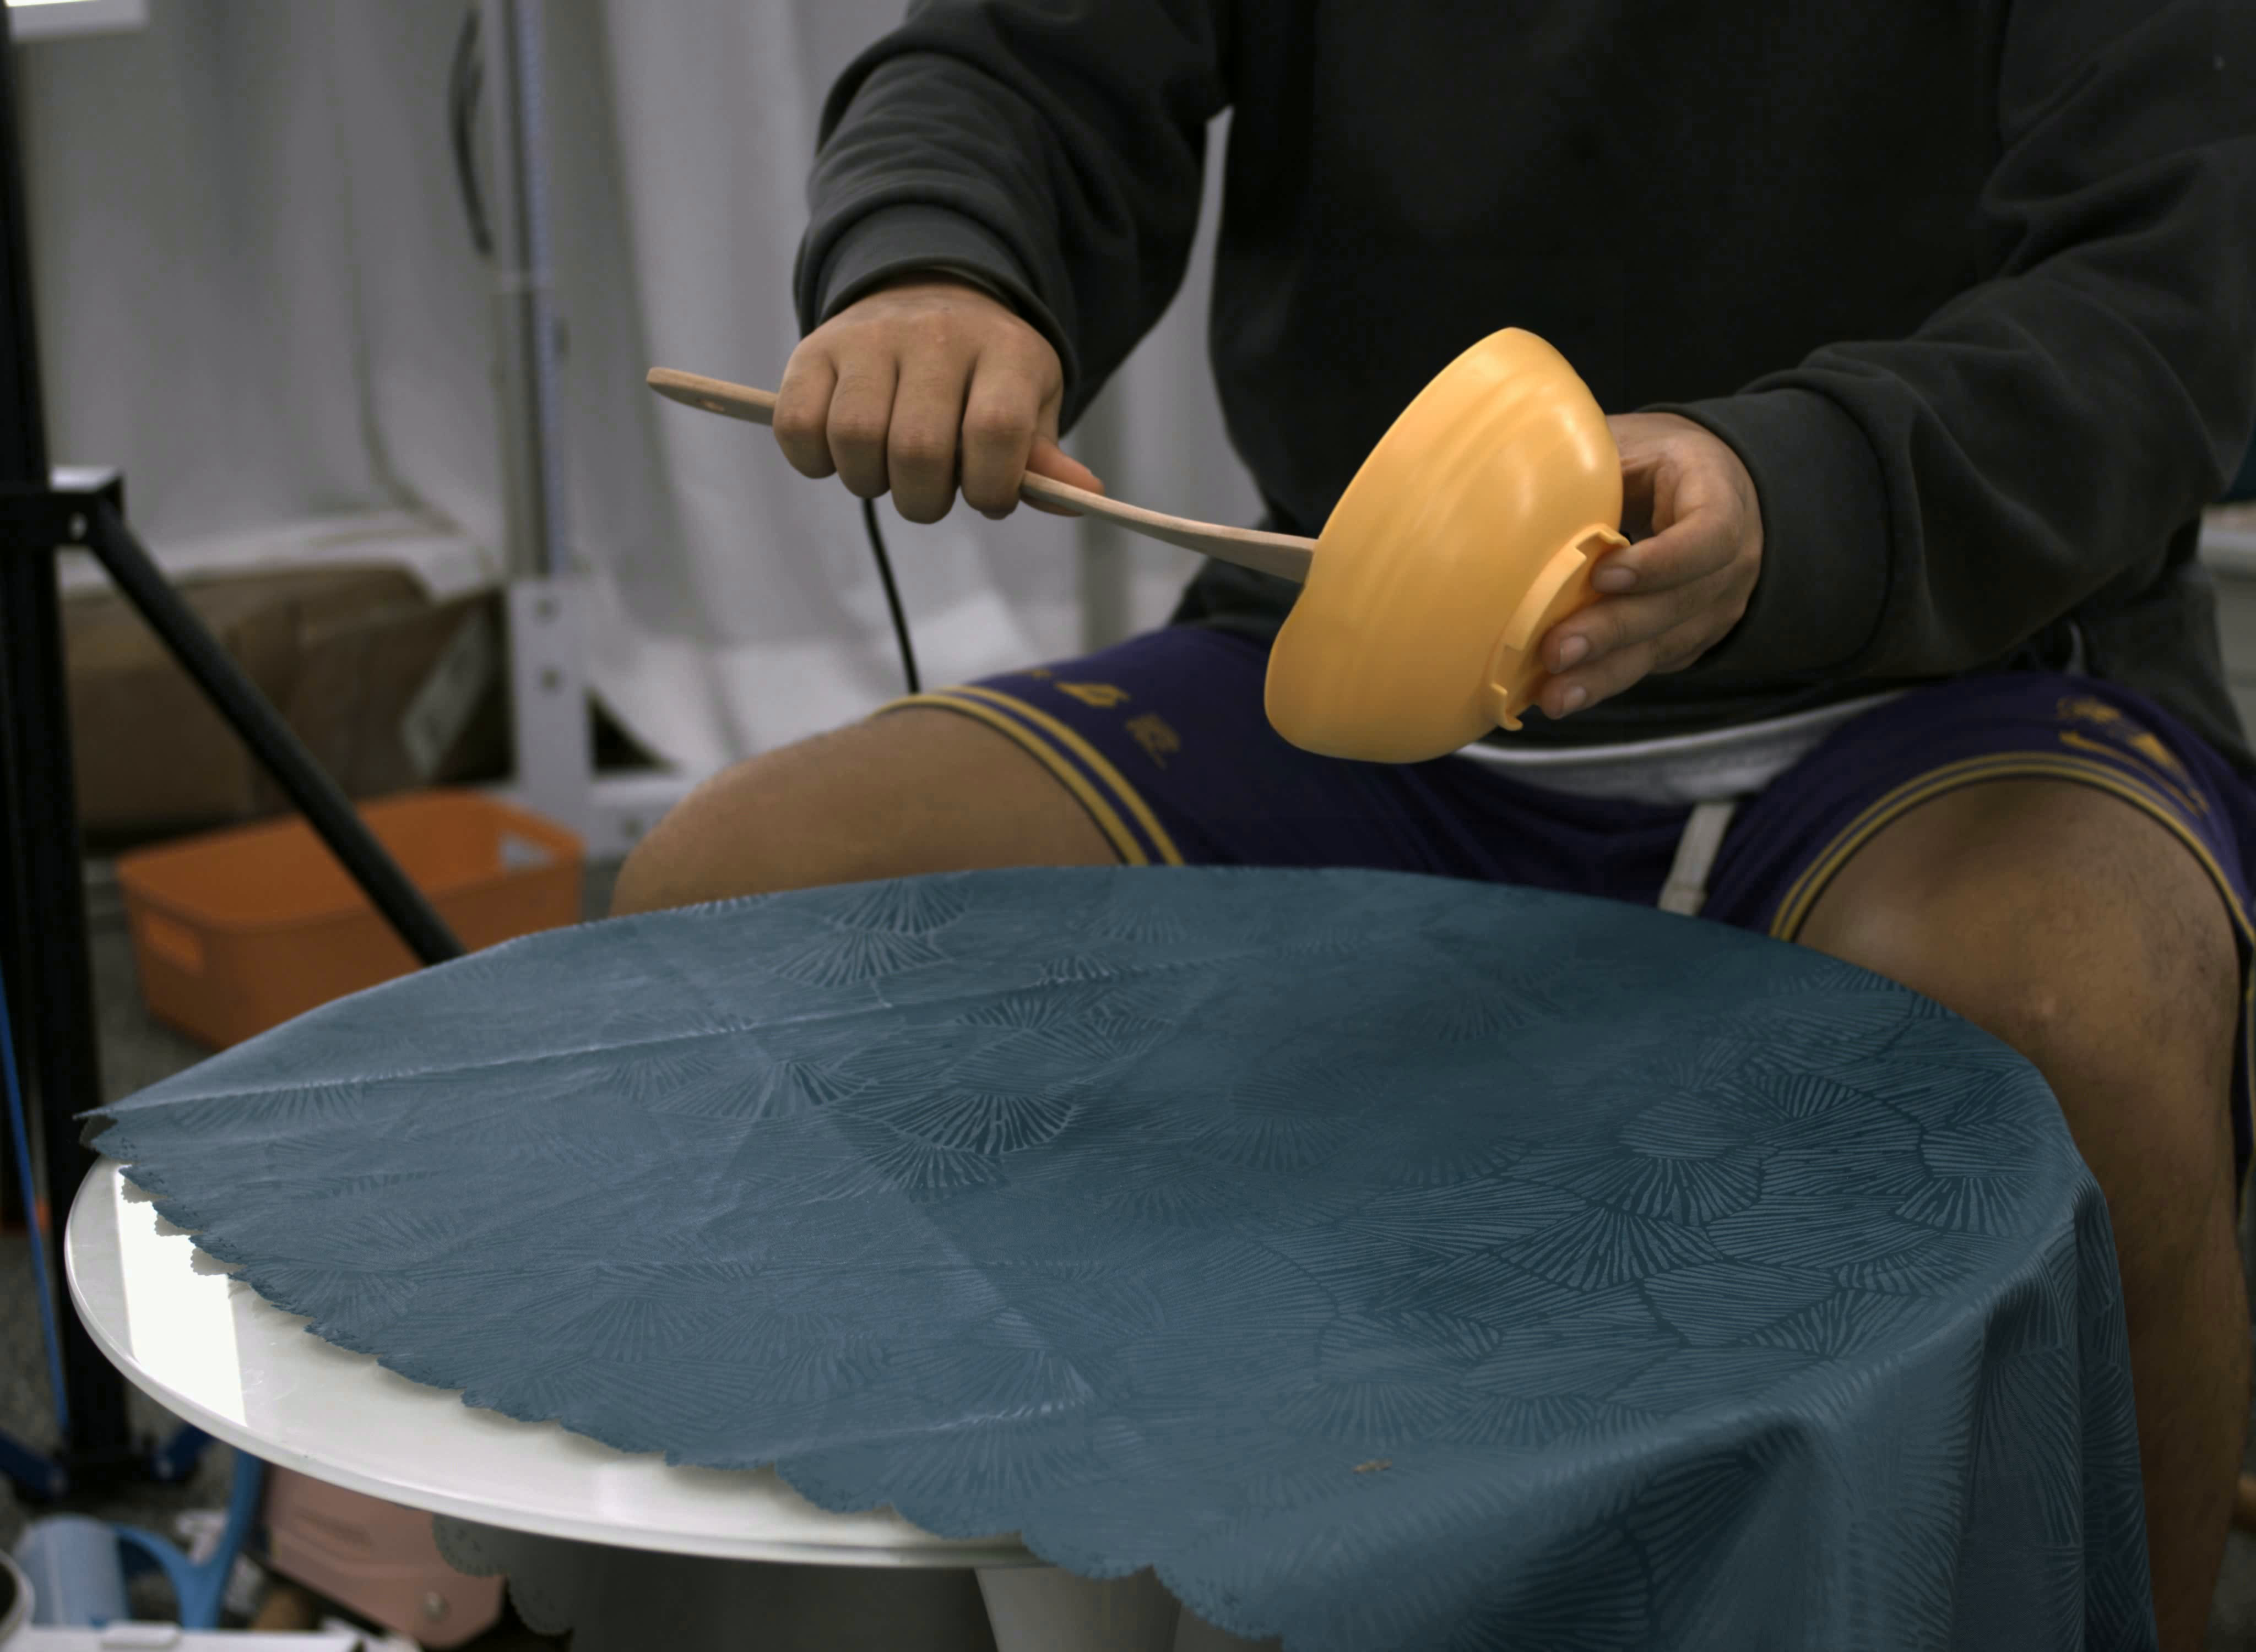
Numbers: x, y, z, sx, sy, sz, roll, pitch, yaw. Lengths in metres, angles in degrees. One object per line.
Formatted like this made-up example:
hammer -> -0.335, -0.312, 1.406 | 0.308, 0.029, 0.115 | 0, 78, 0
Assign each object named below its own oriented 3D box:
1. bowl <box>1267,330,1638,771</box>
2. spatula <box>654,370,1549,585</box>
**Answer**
bowl -> 0.108, -0.069, 1.573 | 0.061, 0.146, 0.142 | 35, 32, 22
spatula -> -0.010, -0.103, 1.645 | 0.333, 0.016, 0.078 | 17, -6, 29
